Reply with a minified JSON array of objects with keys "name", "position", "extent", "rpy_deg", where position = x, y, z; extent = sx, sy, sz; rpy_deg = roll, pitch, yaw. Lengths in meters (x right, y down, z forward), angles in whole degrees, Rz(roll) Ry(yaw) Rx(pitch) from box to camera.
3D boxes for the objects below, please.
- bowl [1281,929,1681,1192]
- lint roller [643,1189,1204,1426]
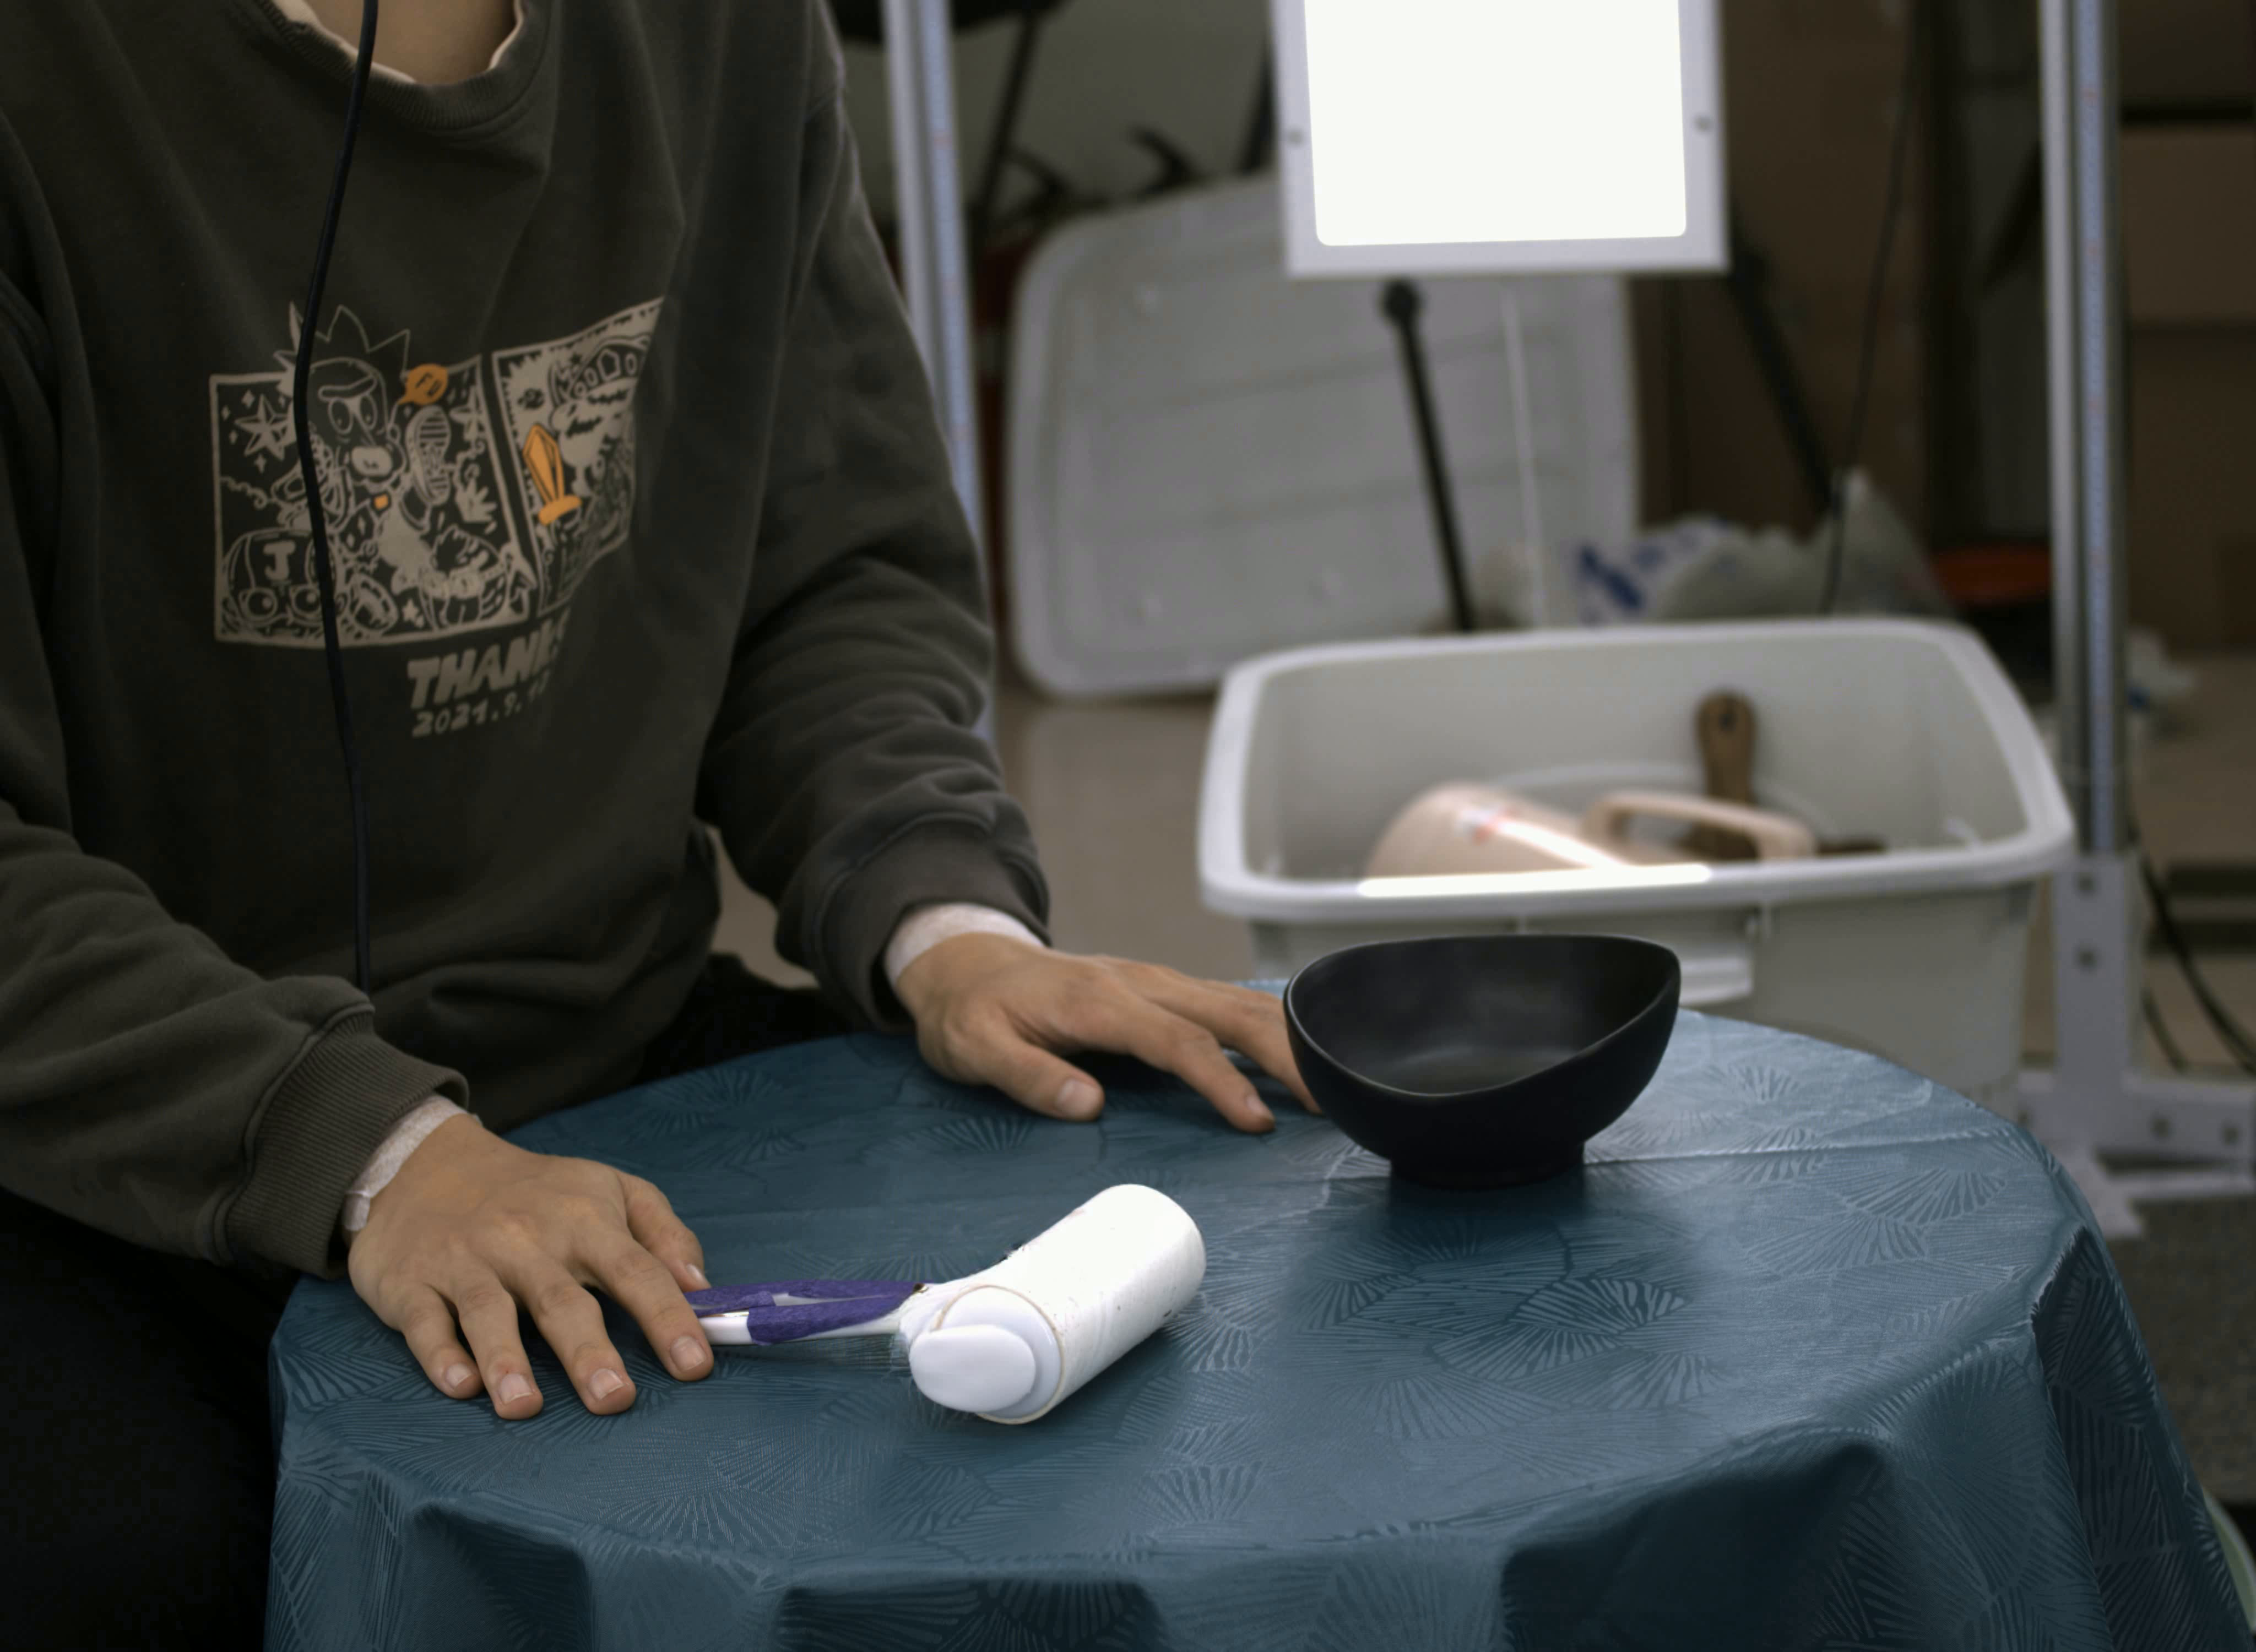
[{"name":"bowl","position":[0.124,0.084,1.891],"extent":[0.138,0.067,0.168],"rpy_deg":[-3,16,13]},{"name":"lint roller","position":[-0.075,0.144,1.751],"extent":[0.184,0.050,0.130],"rpy_deg":[6,18,29]}]
